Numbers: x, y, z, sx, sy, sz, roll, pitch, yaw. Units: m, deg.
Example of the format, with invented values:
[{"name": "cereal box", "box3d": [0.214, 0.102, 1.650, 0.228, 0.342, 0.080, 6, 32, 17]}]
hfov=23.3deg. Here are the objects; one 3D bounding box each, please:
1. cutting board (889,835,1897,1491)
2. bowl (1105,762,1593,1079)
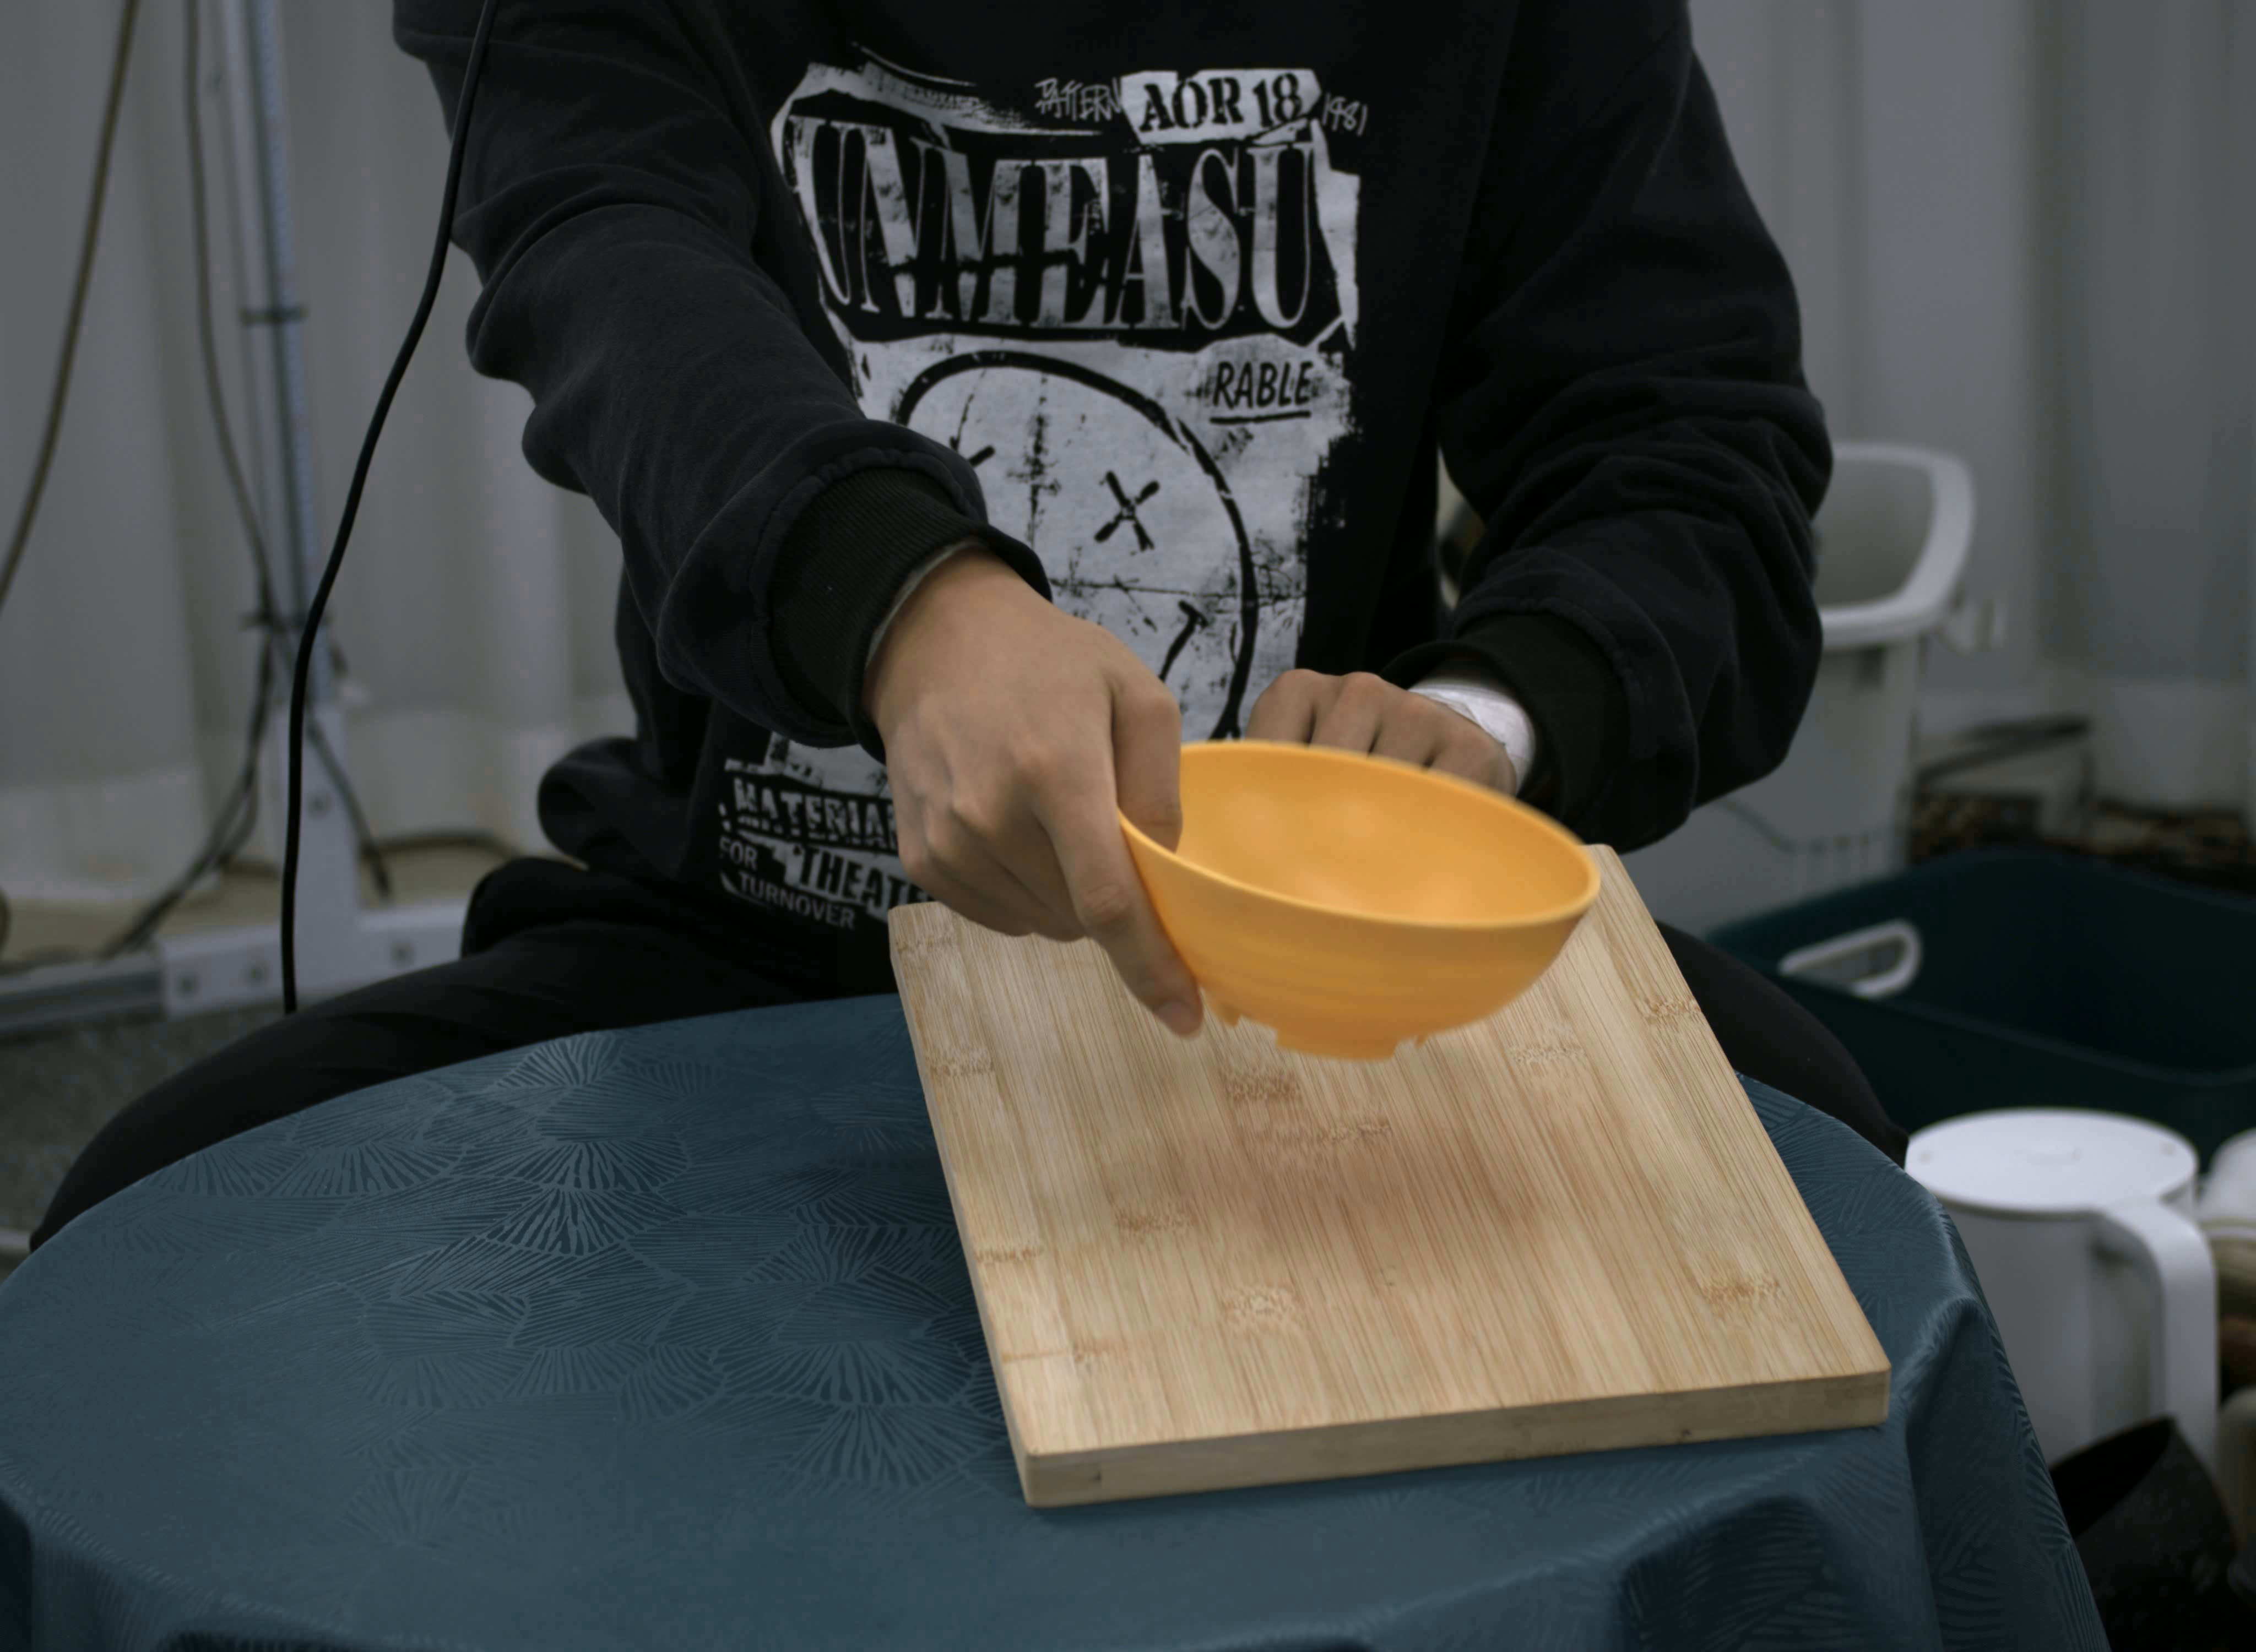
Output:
[{"name": "cutting board", "box3d": [0.066, 0.093, 1.631, 0.249, 0.023, 0.353, -5, 25, -8]}, {"name": "bowl", "box3d": [0.057, 0.033, 1.571, 0.145, 0.060, 0.146, 12, 15, -3]}]
